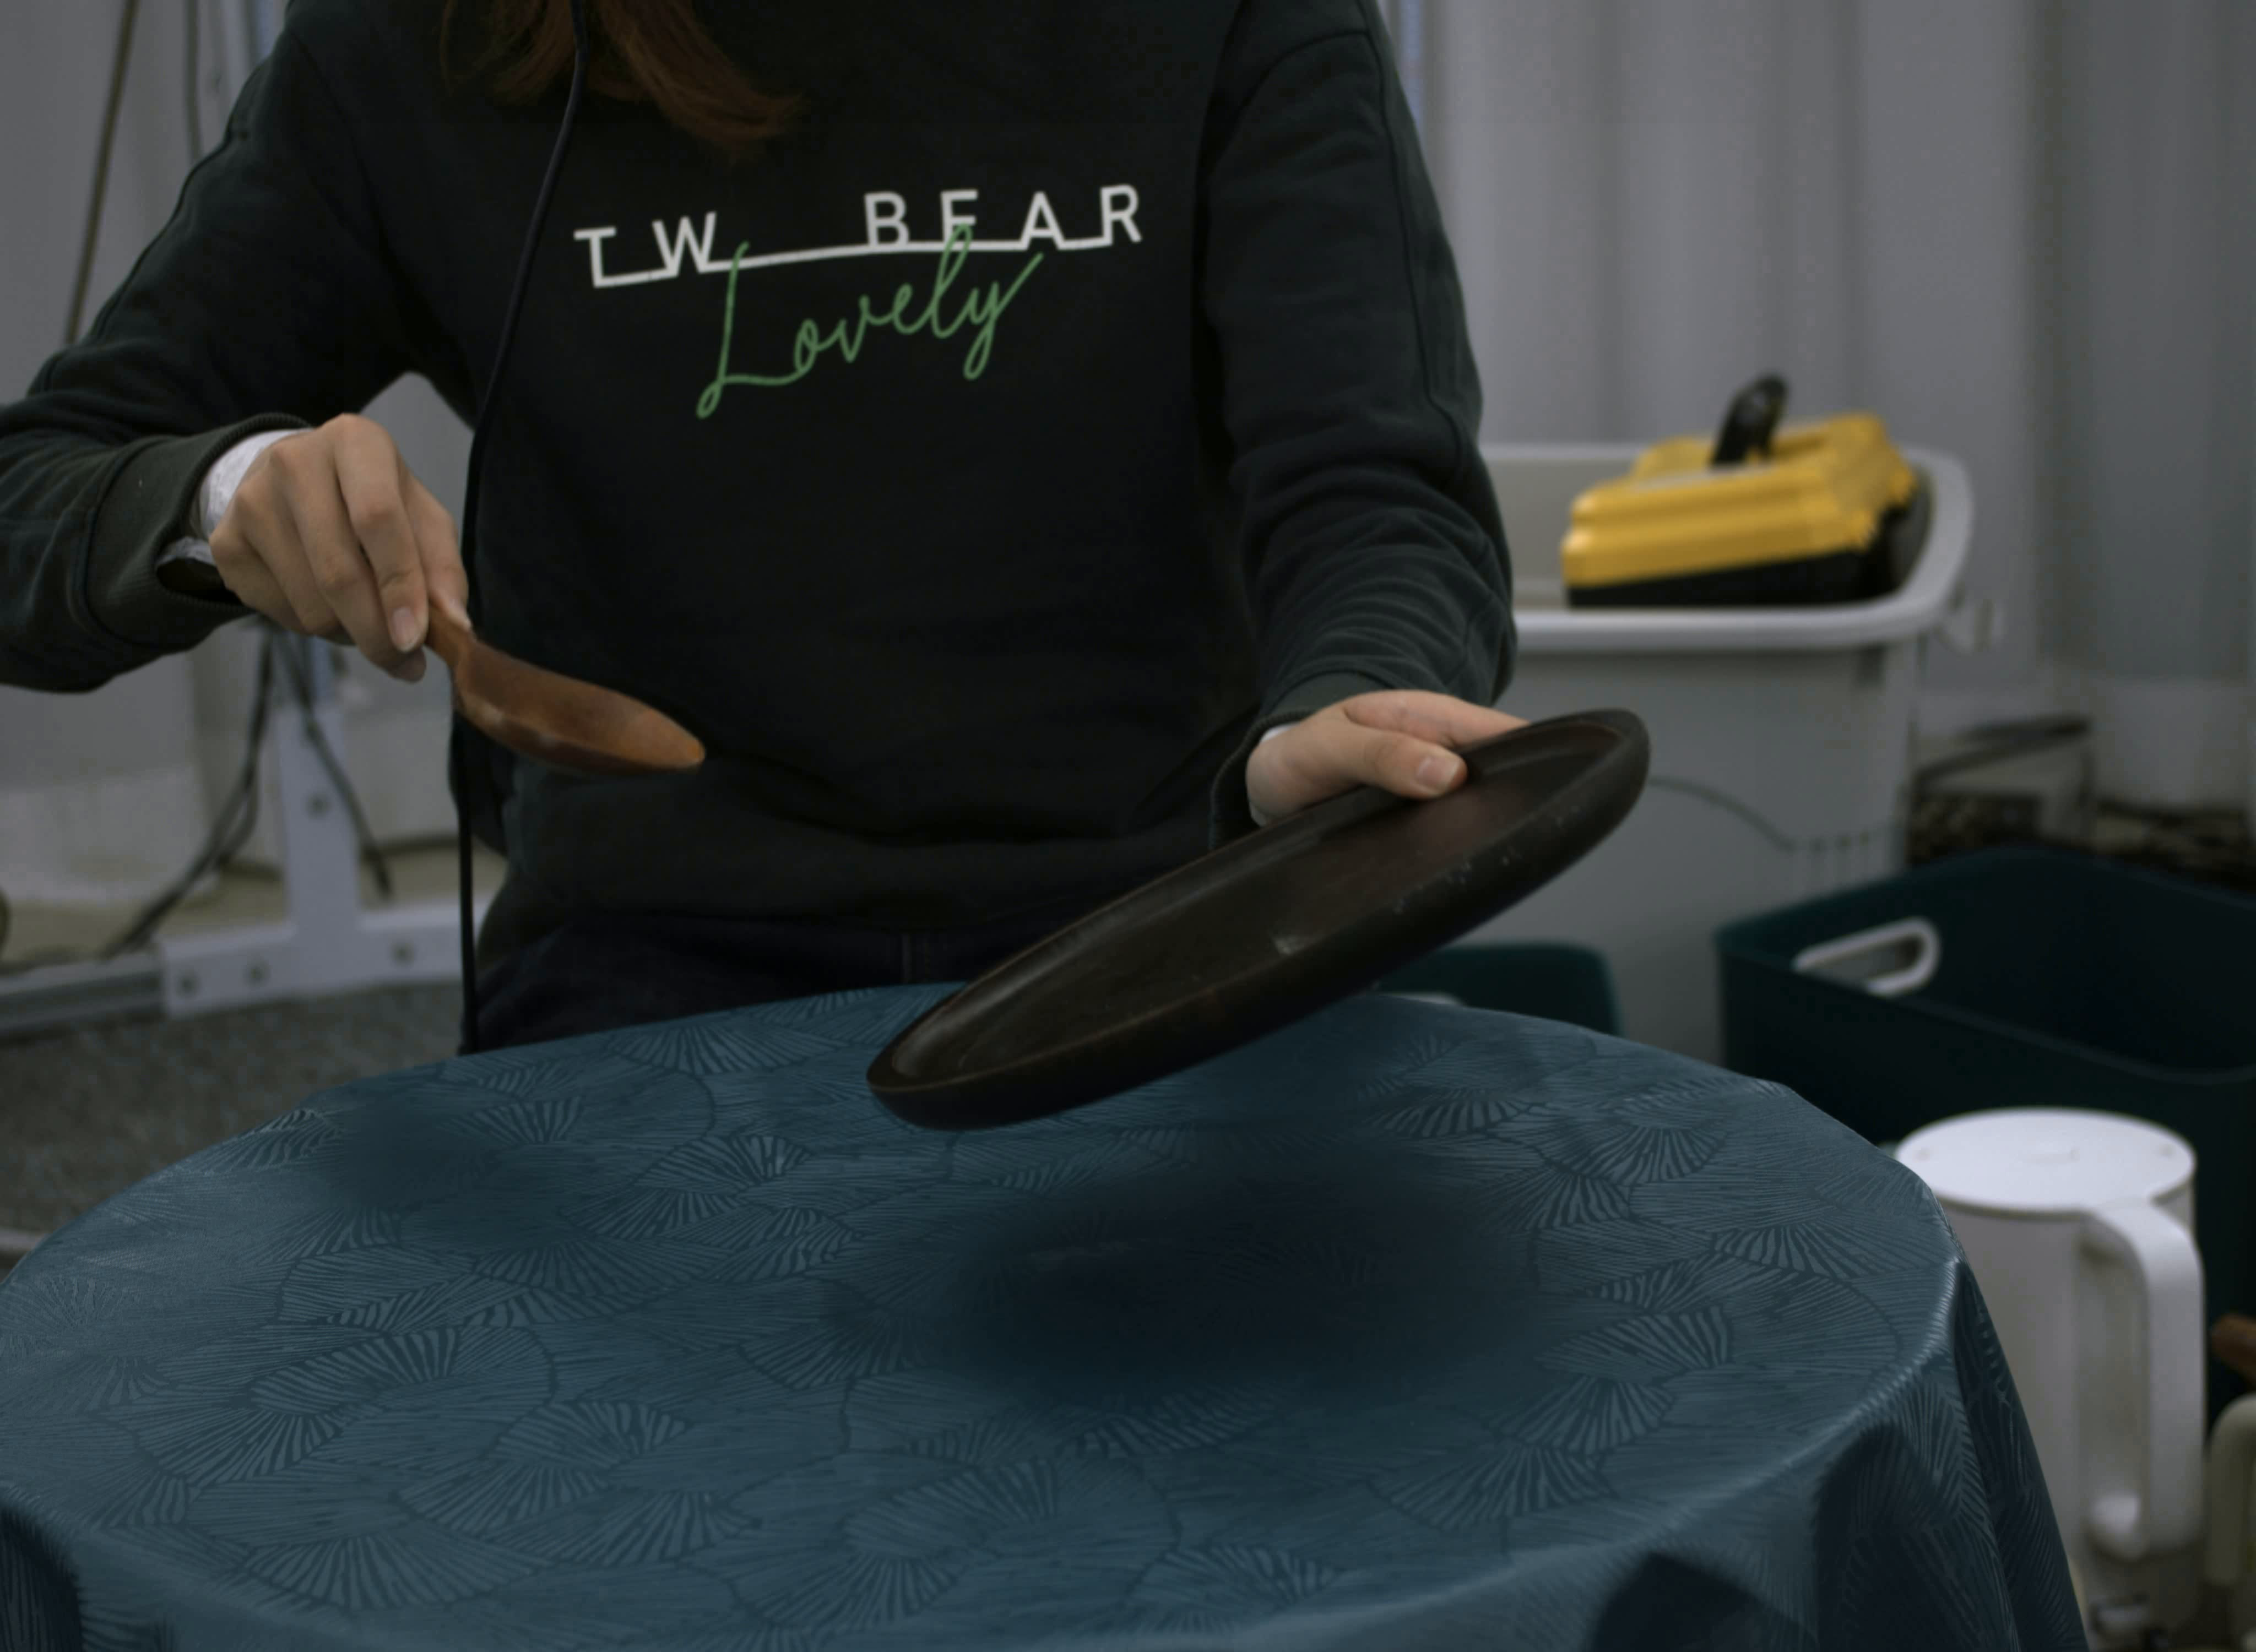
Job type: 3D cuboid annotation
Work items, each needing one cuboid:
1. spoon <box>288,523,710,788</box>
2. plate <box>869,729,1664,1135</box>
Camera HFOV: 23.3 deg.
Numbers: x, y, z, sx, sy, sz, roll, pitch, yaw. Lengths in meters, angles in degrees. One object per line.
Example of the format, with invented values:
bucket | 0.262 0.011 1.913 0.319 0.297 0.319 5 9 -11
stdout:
spoon | -0.205 -0.052 1.714 0.075 0.017 0.218 4 19 -40
plate | 0.042 0.031 1.610 0.254 0.029 0.256 -23 8 3
